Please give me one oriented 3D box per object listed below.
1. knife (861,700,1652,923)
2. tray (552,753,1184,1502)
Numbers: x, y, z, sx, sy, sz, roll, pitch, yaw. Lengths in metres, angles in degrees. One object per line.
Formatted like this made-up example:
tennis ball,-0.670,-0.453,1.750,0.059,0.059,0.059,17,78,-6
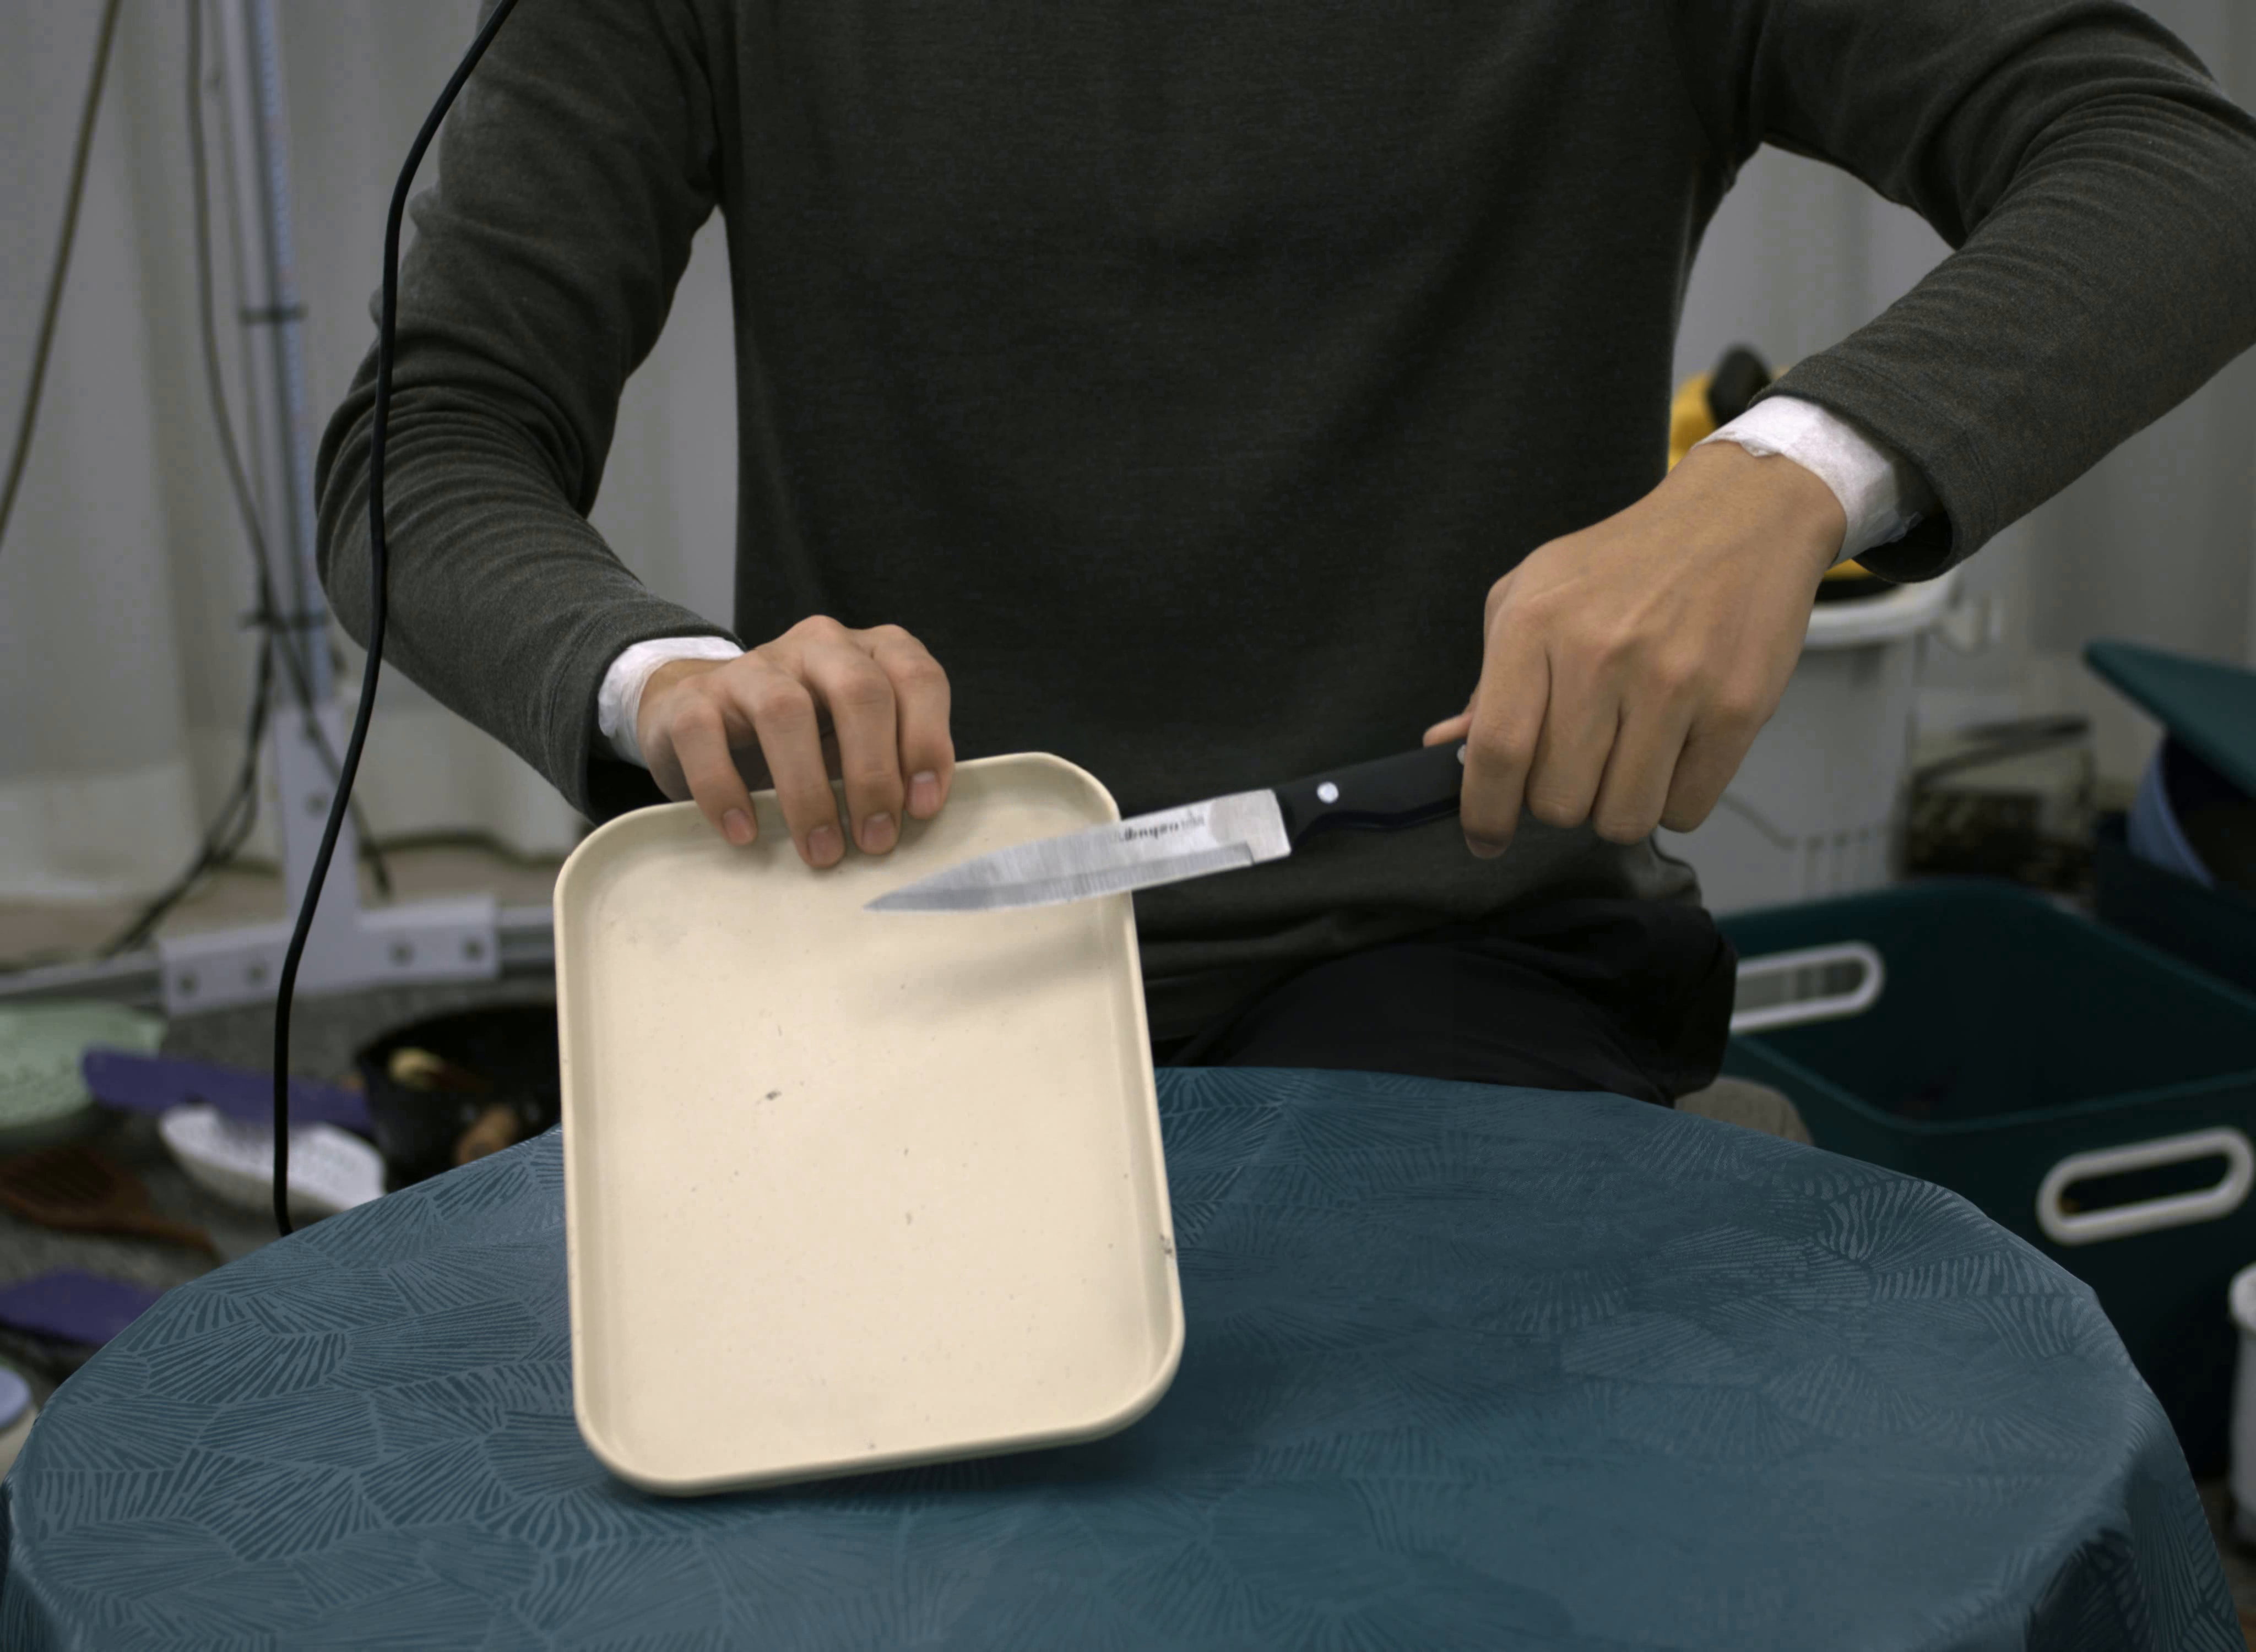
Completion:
knife,0.037,-0.003,1.585,0.237,0.025,0.016,-13,-25,-8
tray,-0.076,0.083,1.553,0.171,0.017,0.243,-9,50,2
